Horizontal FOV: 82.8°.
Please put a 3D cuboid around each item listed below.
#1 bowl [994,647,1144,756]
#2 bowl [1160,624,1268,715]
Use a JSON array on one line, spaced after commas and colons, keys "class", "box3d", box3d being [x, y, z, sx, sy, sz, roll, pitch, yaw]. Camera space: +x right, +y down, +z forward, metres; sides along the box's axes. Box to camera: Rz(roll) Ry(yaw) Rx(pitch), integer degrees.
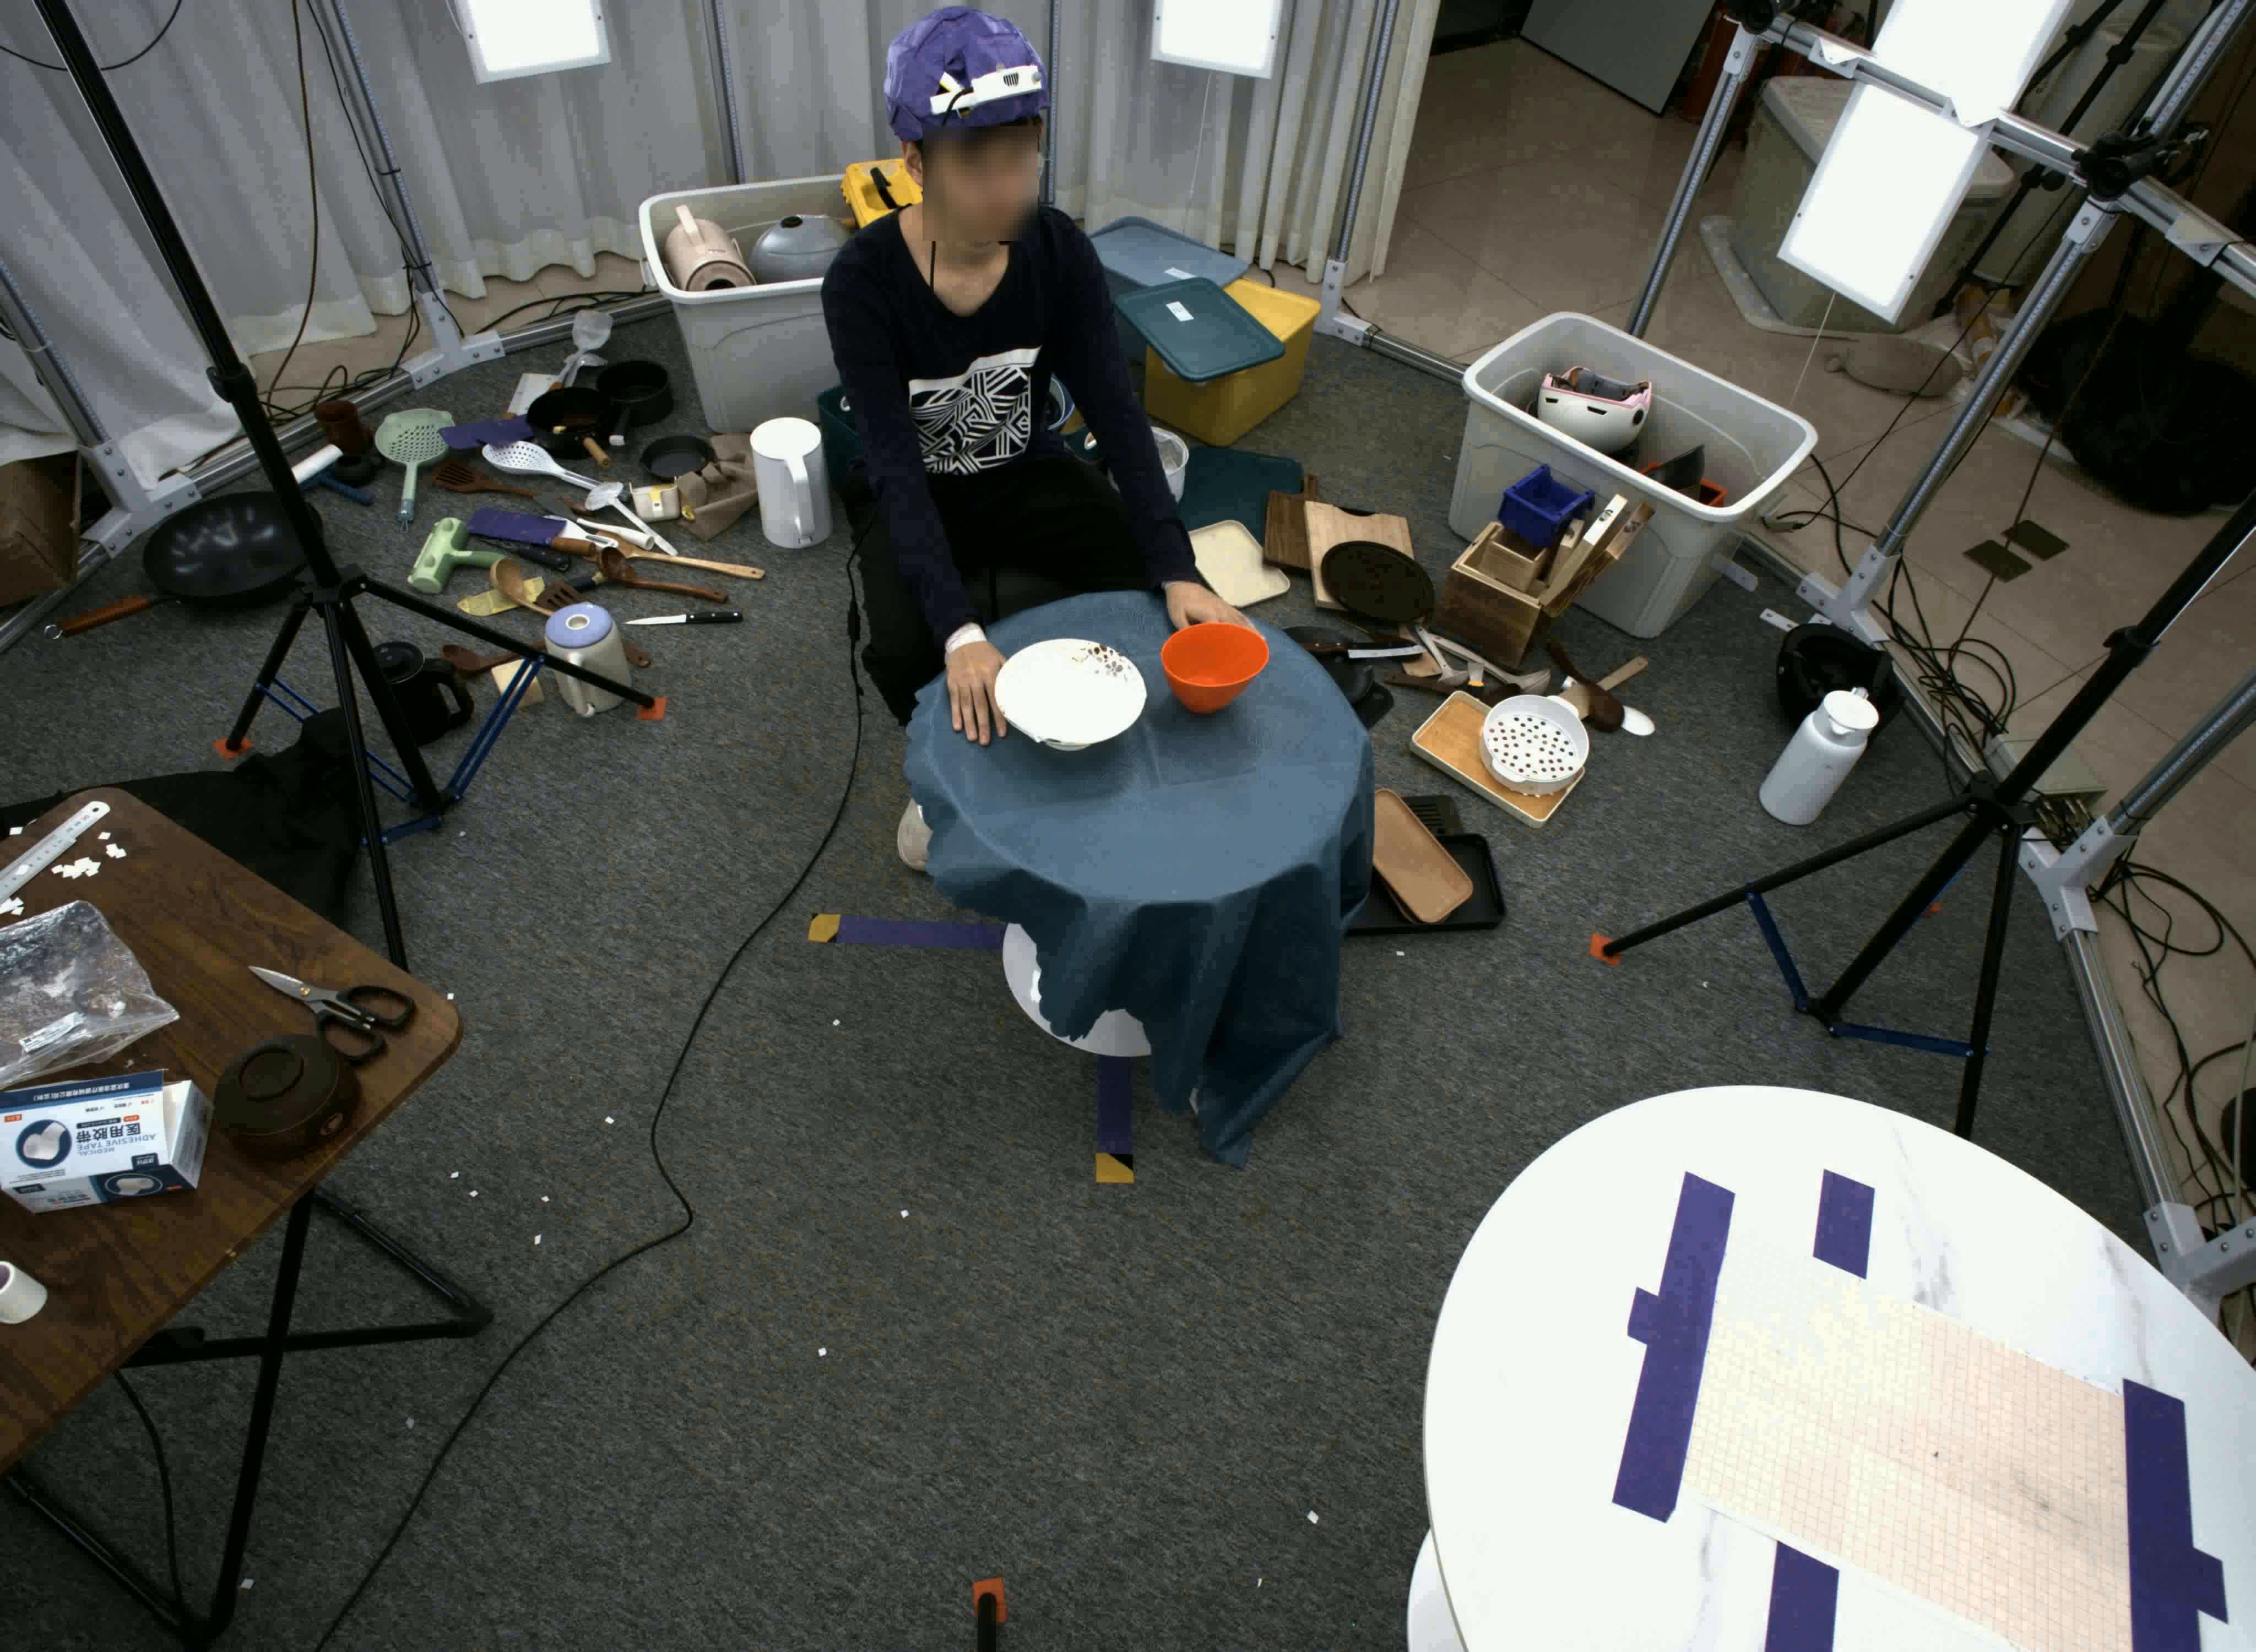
[{"class": "bowl", "box3d": [-0.081, -0.154, 1.752, 0.204, 0.076, 0.209, 2, 43, -2]}, {"class": "bowl", "box3d": [0.116, -0.209, 1.793, 0.148, 0.102, 0.152, 1, 48, -2]}]
